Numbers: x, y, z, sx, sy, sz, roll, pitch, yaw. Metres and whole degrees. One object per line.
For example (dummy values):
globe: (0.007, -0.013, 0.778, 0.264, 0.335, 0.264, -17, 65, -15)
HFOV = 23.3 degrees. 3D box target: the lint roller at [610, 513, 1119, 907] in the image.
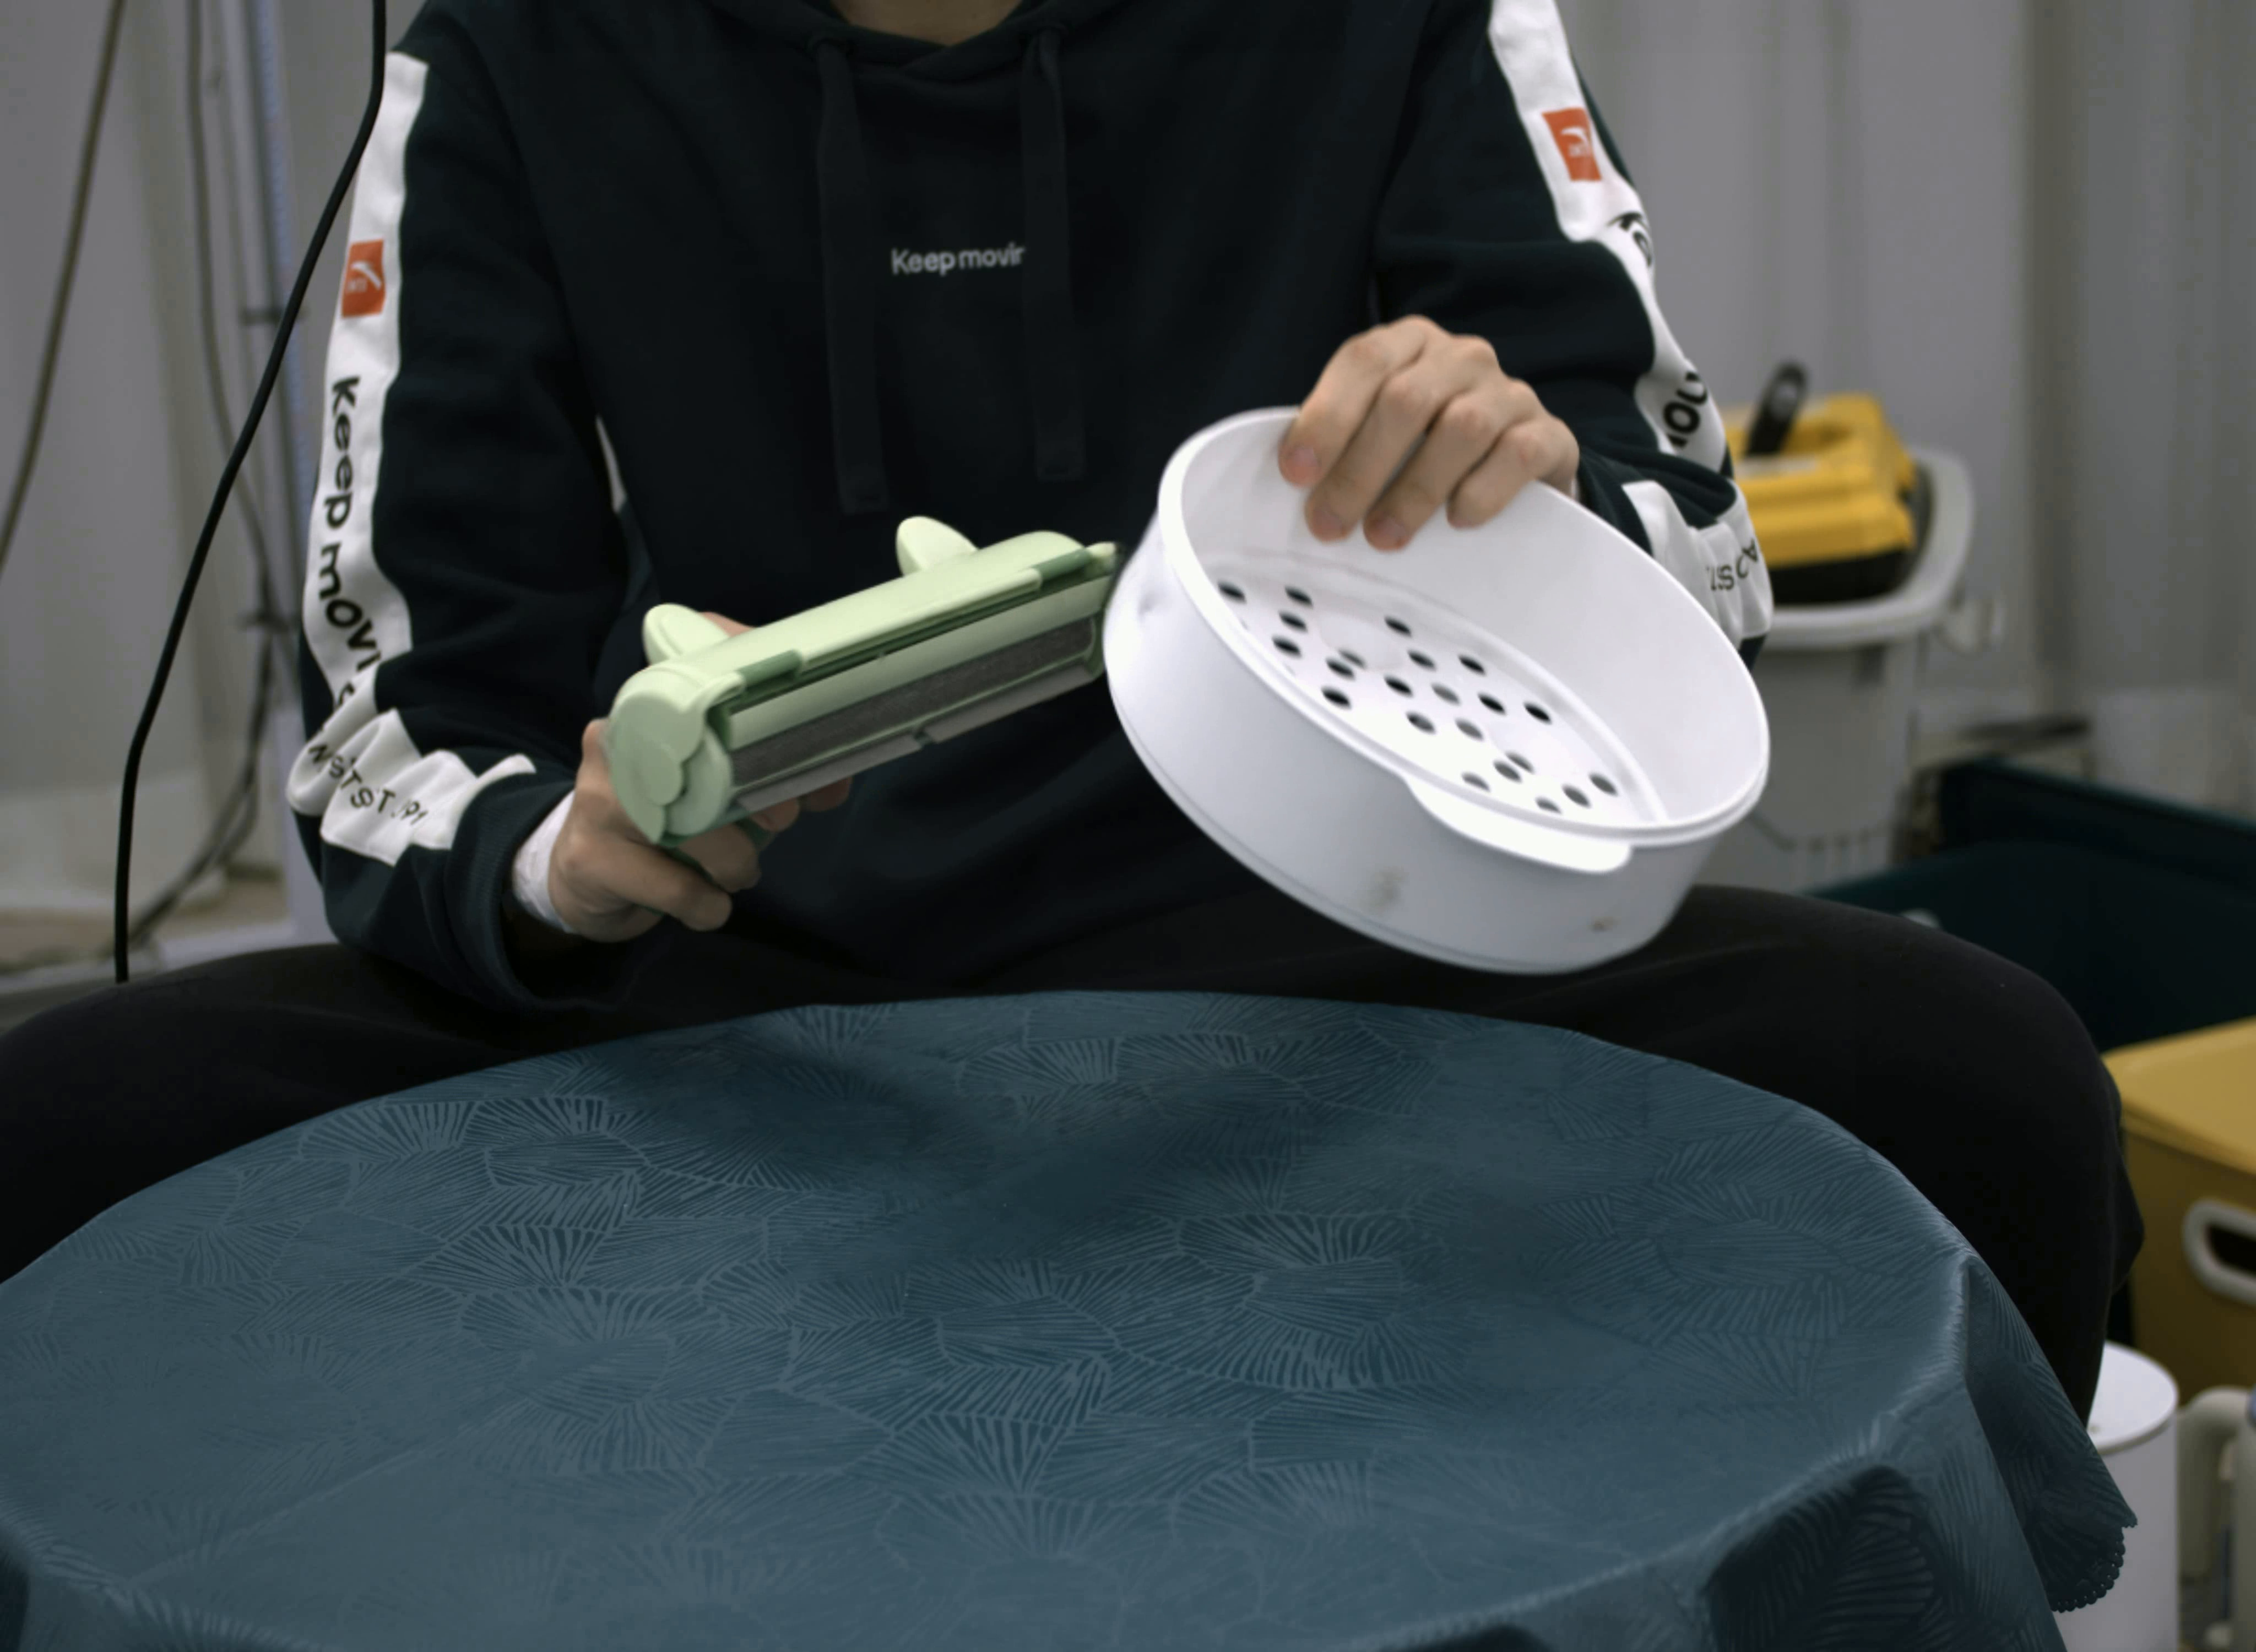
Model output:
lint roller: (-0.120, -0.036, 1.793, 0.198, 0.082, 0.182, -23, -2, -45)

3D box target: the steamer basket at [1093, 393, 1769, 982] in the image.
steamer basket: (0.089, -0.039, 1.635, 0.200, 0.068, 0.234, 16, 34, -18)
